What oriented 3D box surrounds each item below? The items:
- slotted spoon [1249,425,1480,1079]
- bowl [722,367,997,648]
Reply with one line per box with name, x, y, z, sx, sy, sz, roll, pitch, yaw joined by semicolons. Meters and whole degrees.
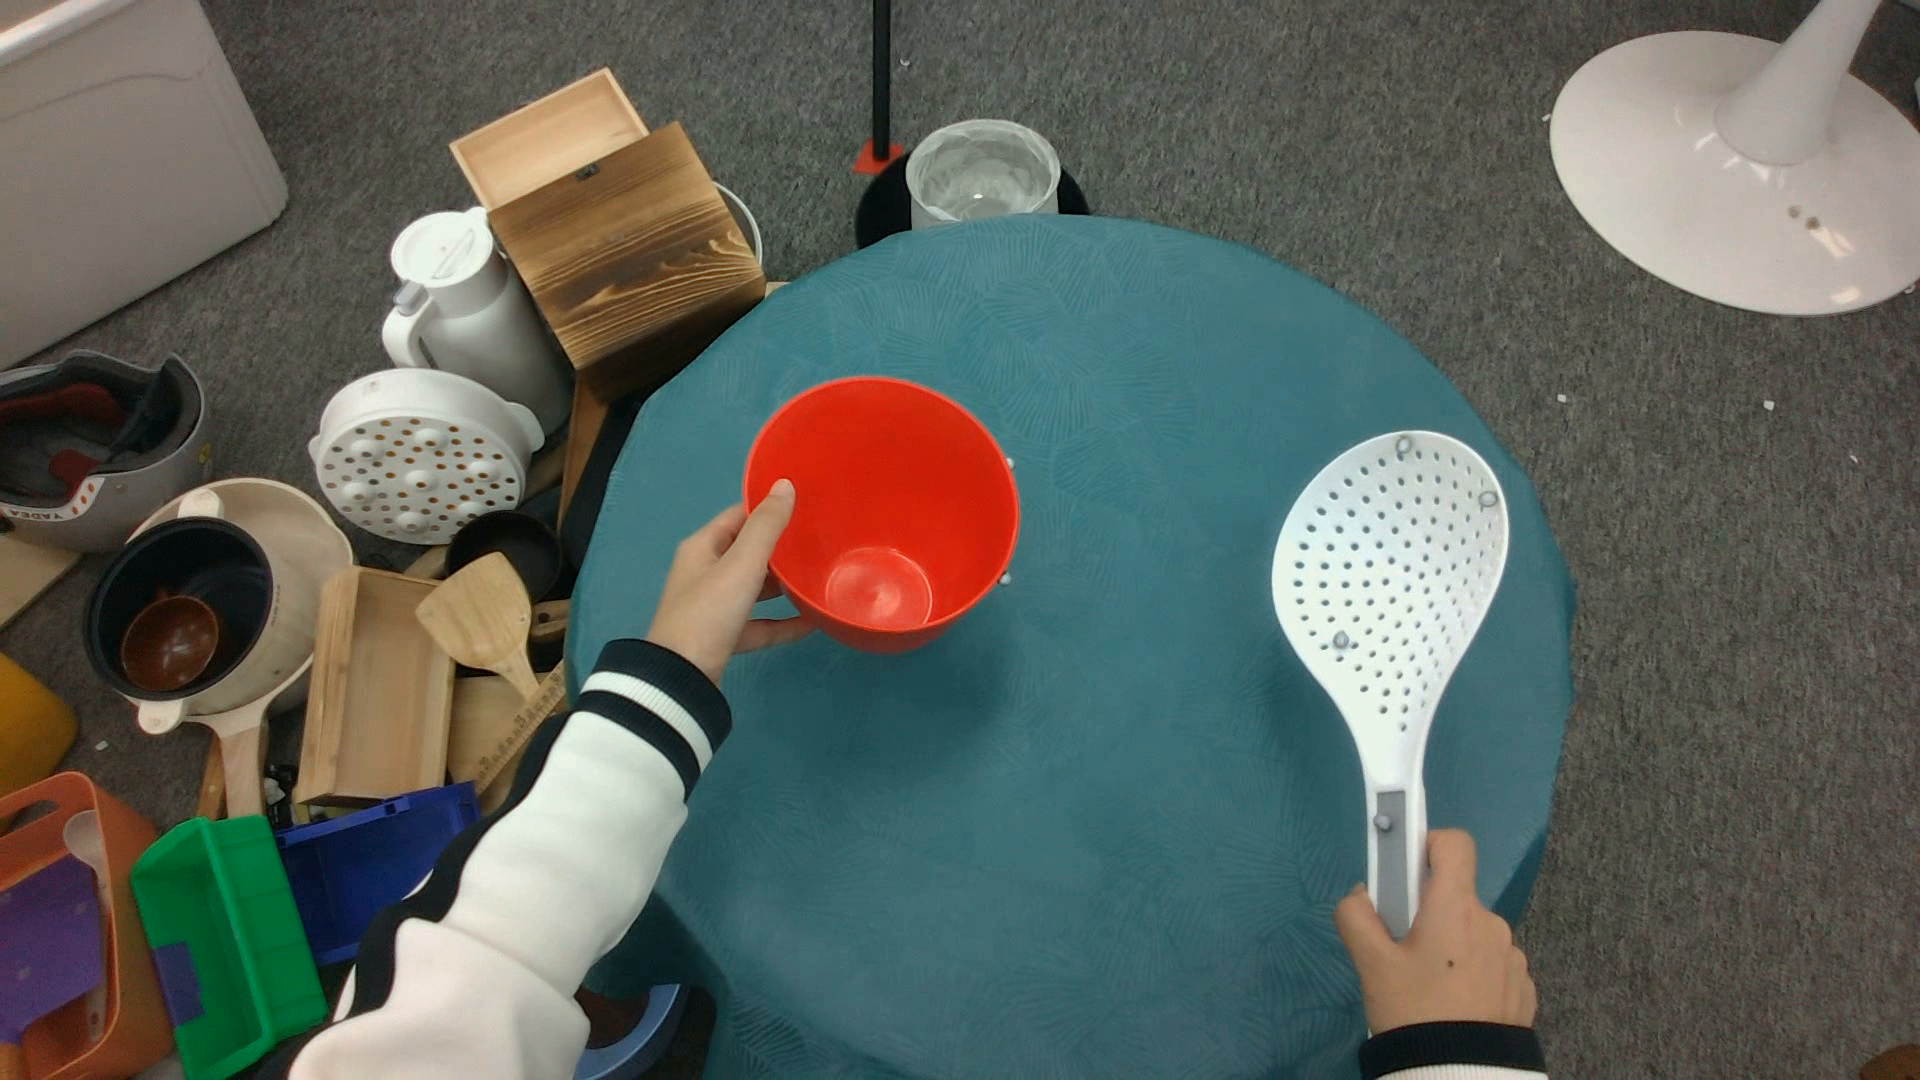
slotted spoon;0.202;0.105;0.682;0.046;0.135;0.351;30;58;-35
bowl;-0.059;-0.005;0.758;0.148;0.104;0.148;7;56;-10
